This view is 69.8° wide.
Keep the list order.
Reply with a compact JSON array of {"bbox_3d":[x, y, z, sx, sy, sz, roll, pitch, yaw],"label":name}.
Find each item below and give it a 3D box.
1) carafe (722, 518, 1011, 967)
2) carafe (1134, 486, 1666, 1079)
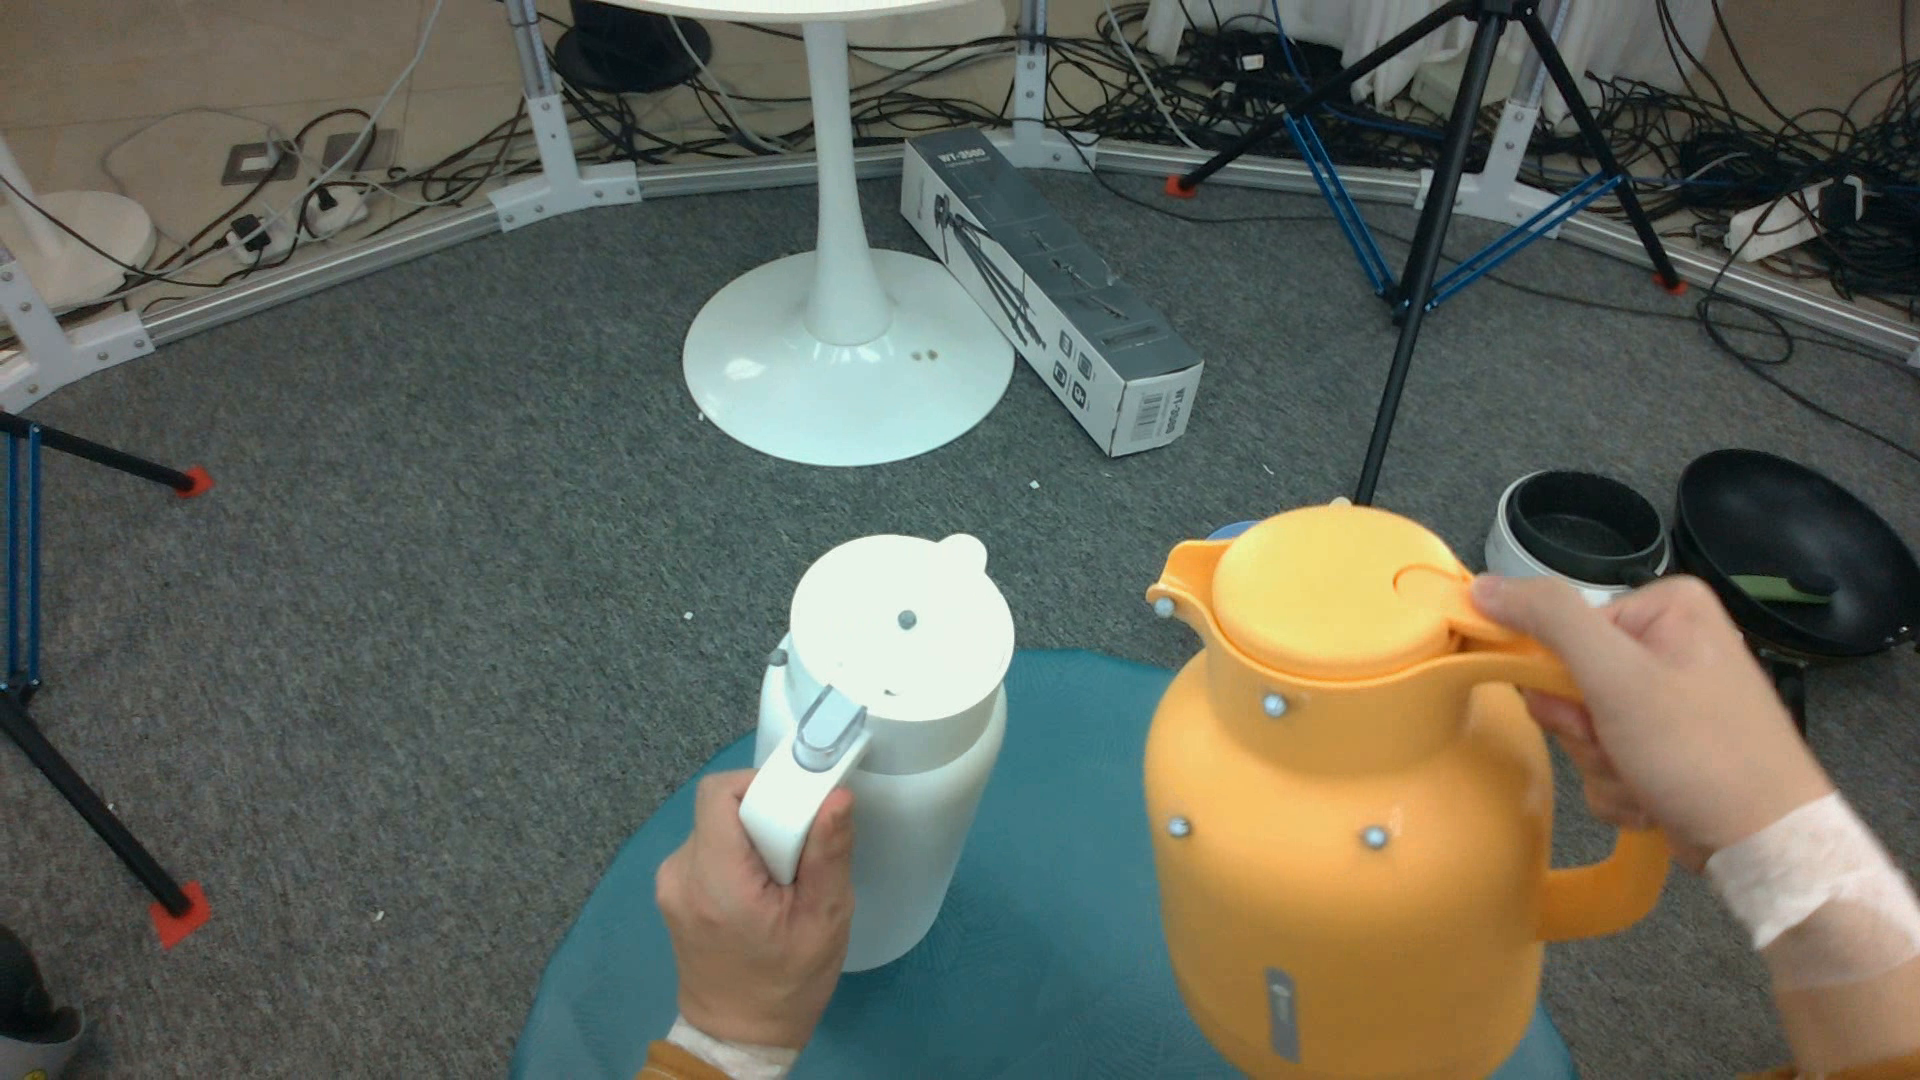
[{"bbox_3d":[-0.056,0.124,0.687,0.124,0.267,0.174,30,52,9],"label":"carafe"},{"bbox_3d":[0.173,0.104,0.567,0.202,0.259,0.164,11,47,30],"label":"carafe"}]
